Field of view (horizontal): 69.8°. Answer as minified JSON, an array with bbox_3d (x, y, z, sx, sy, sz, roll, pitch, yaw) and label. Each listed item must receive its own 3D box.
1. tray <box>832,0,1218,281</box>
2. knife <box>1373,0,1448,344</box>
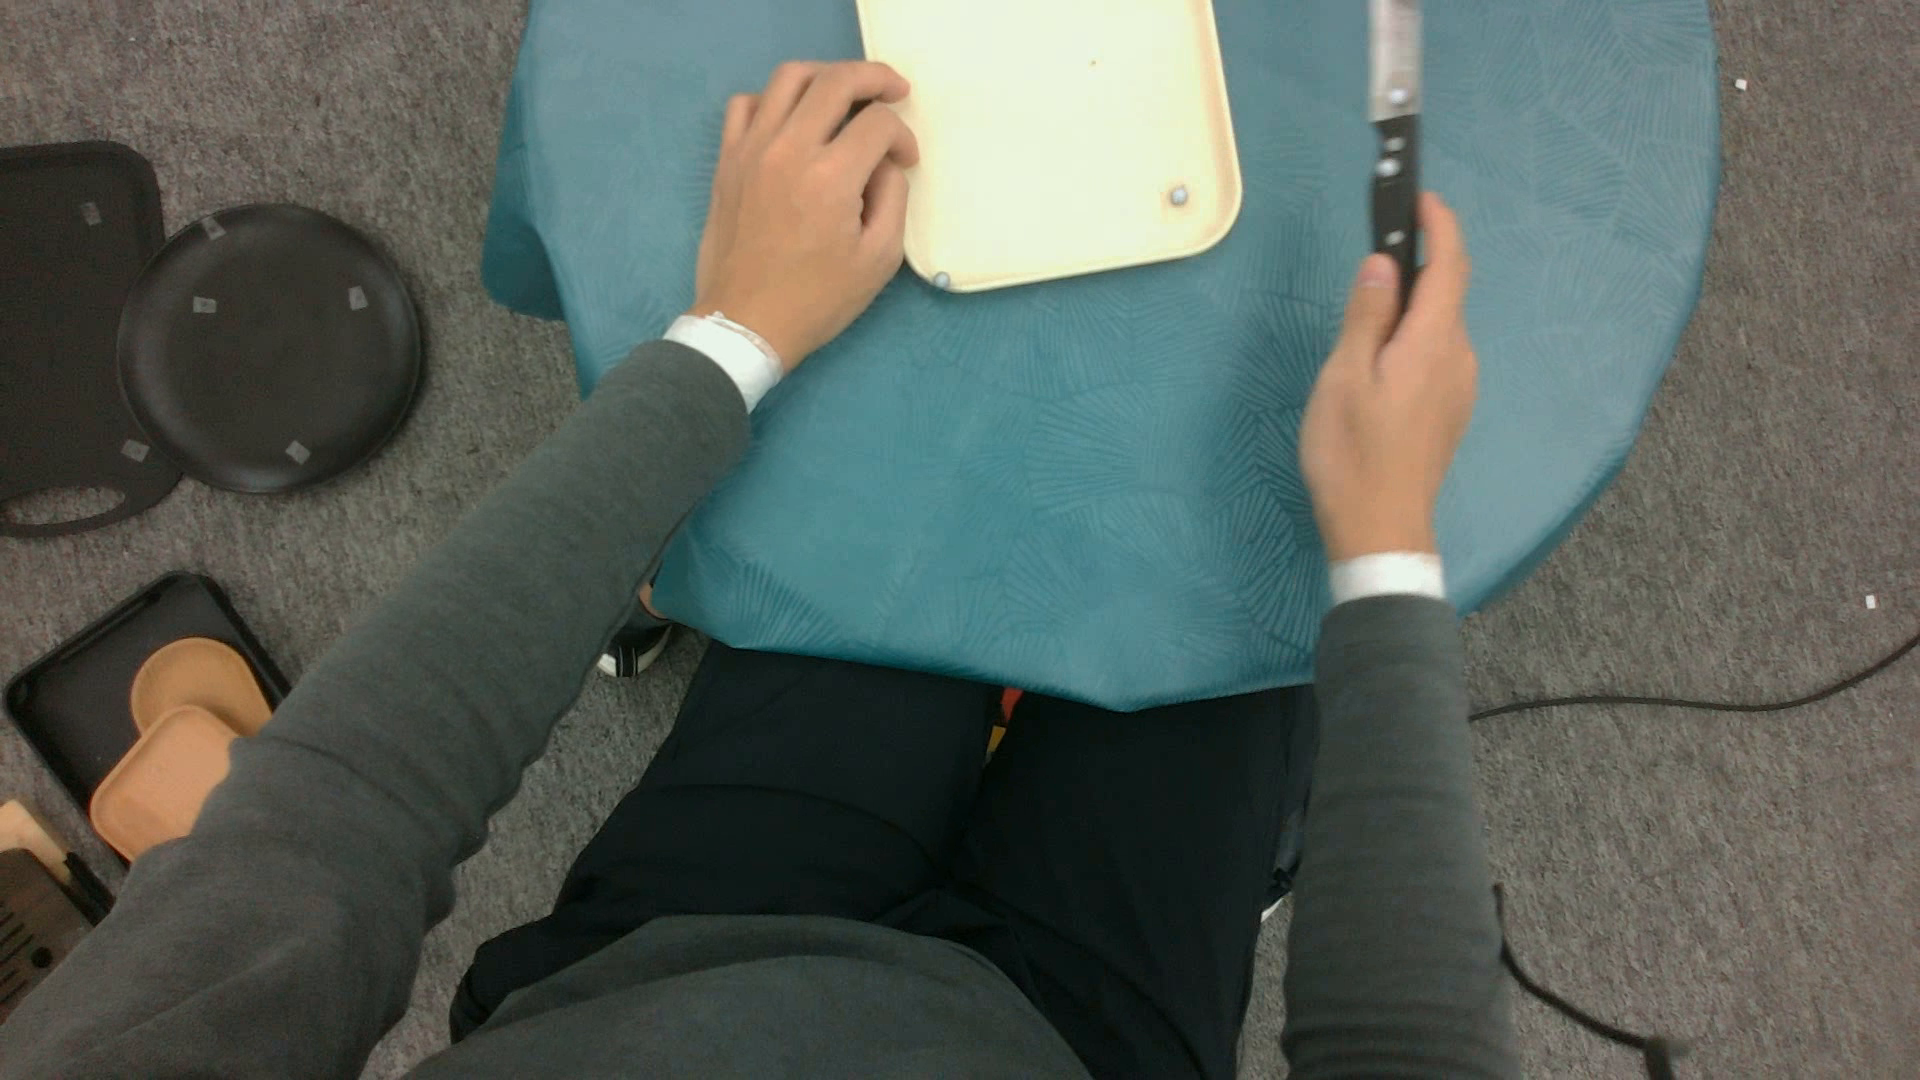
[{"bbox_3d":[0.025,-0.251,0.670,0.171,0.017,0.239,-10,89,-7],"label":"tray"},{"bbox_3d":[0.212,-0.208,0.637,0.024,0.016,0.238,4,84,31],"label":"knife"}]
